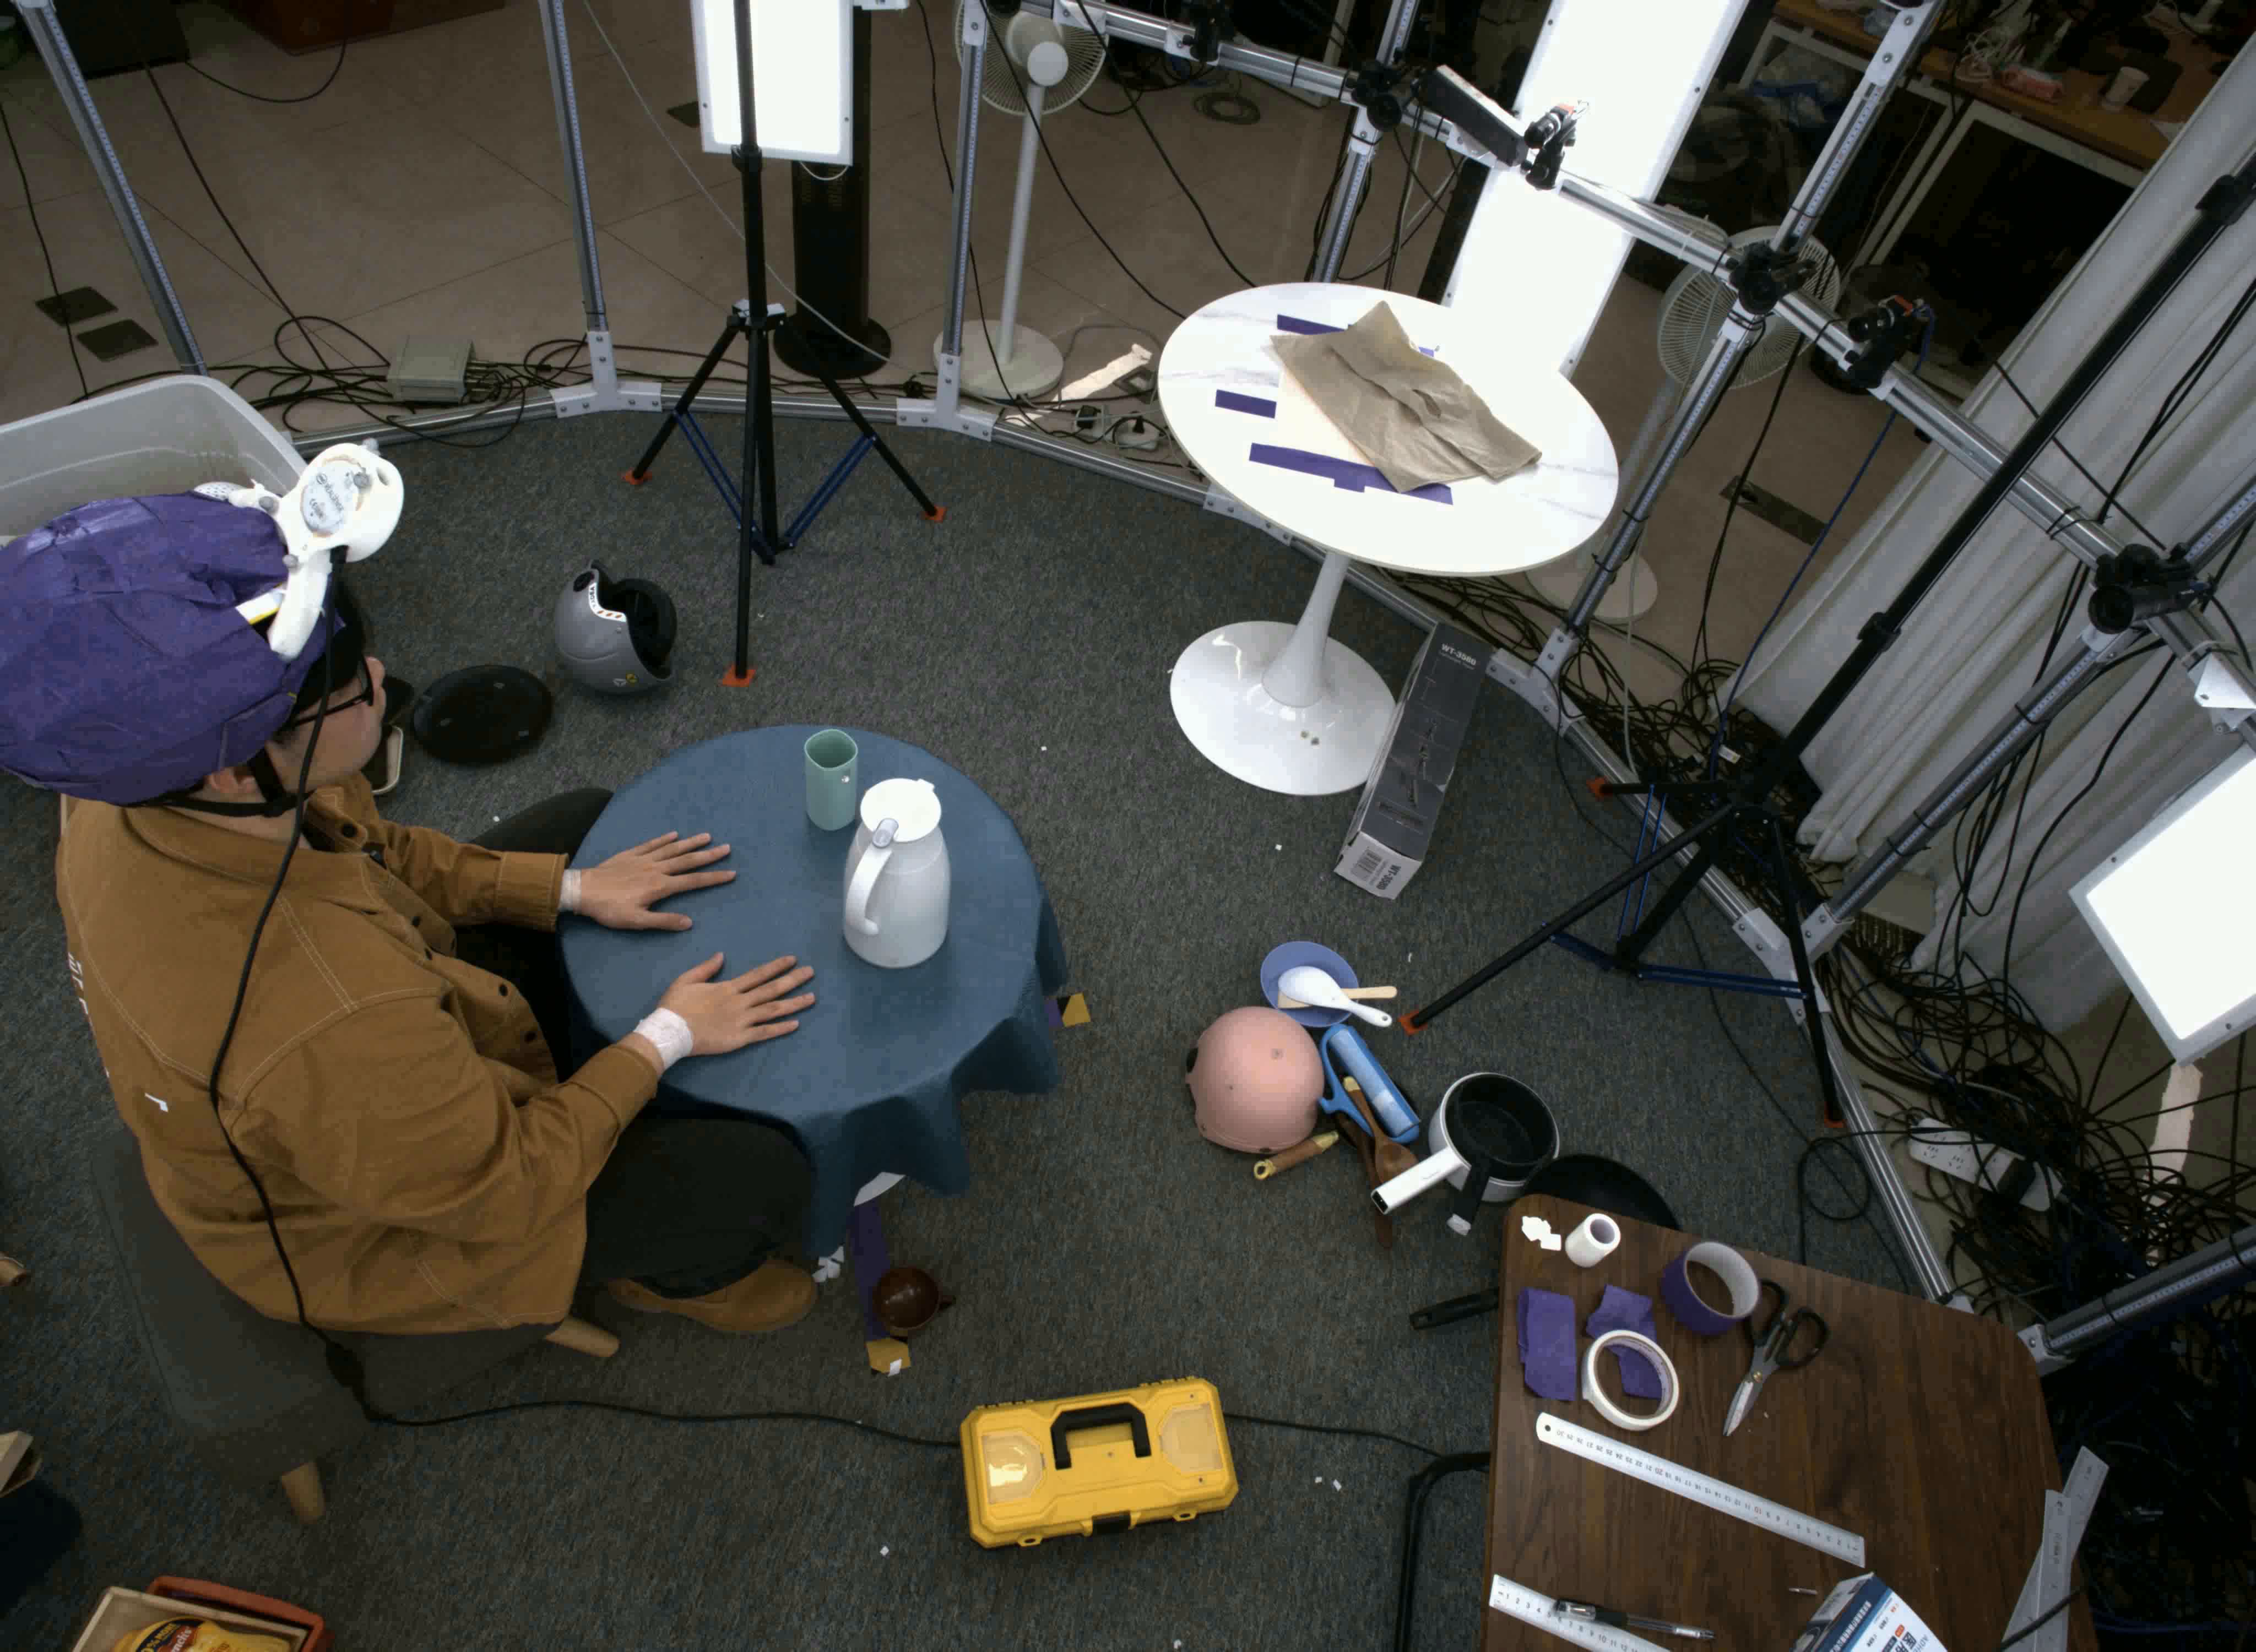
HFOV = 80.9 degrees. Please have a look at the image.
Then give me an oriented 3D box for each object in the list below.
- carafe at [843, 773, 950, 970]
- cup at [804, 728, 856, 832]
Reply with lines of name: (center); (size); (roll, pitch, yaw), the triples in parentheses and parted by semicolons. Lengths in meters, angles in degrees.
carafe: (-0.284, 0.062, 1.552); (0.131, 0.254, 0.166); (23, 52, 6)
cup: (-0.389, -0.059, 1.694); (0.066, 0.135, 0.065); (7, 51, -7)
